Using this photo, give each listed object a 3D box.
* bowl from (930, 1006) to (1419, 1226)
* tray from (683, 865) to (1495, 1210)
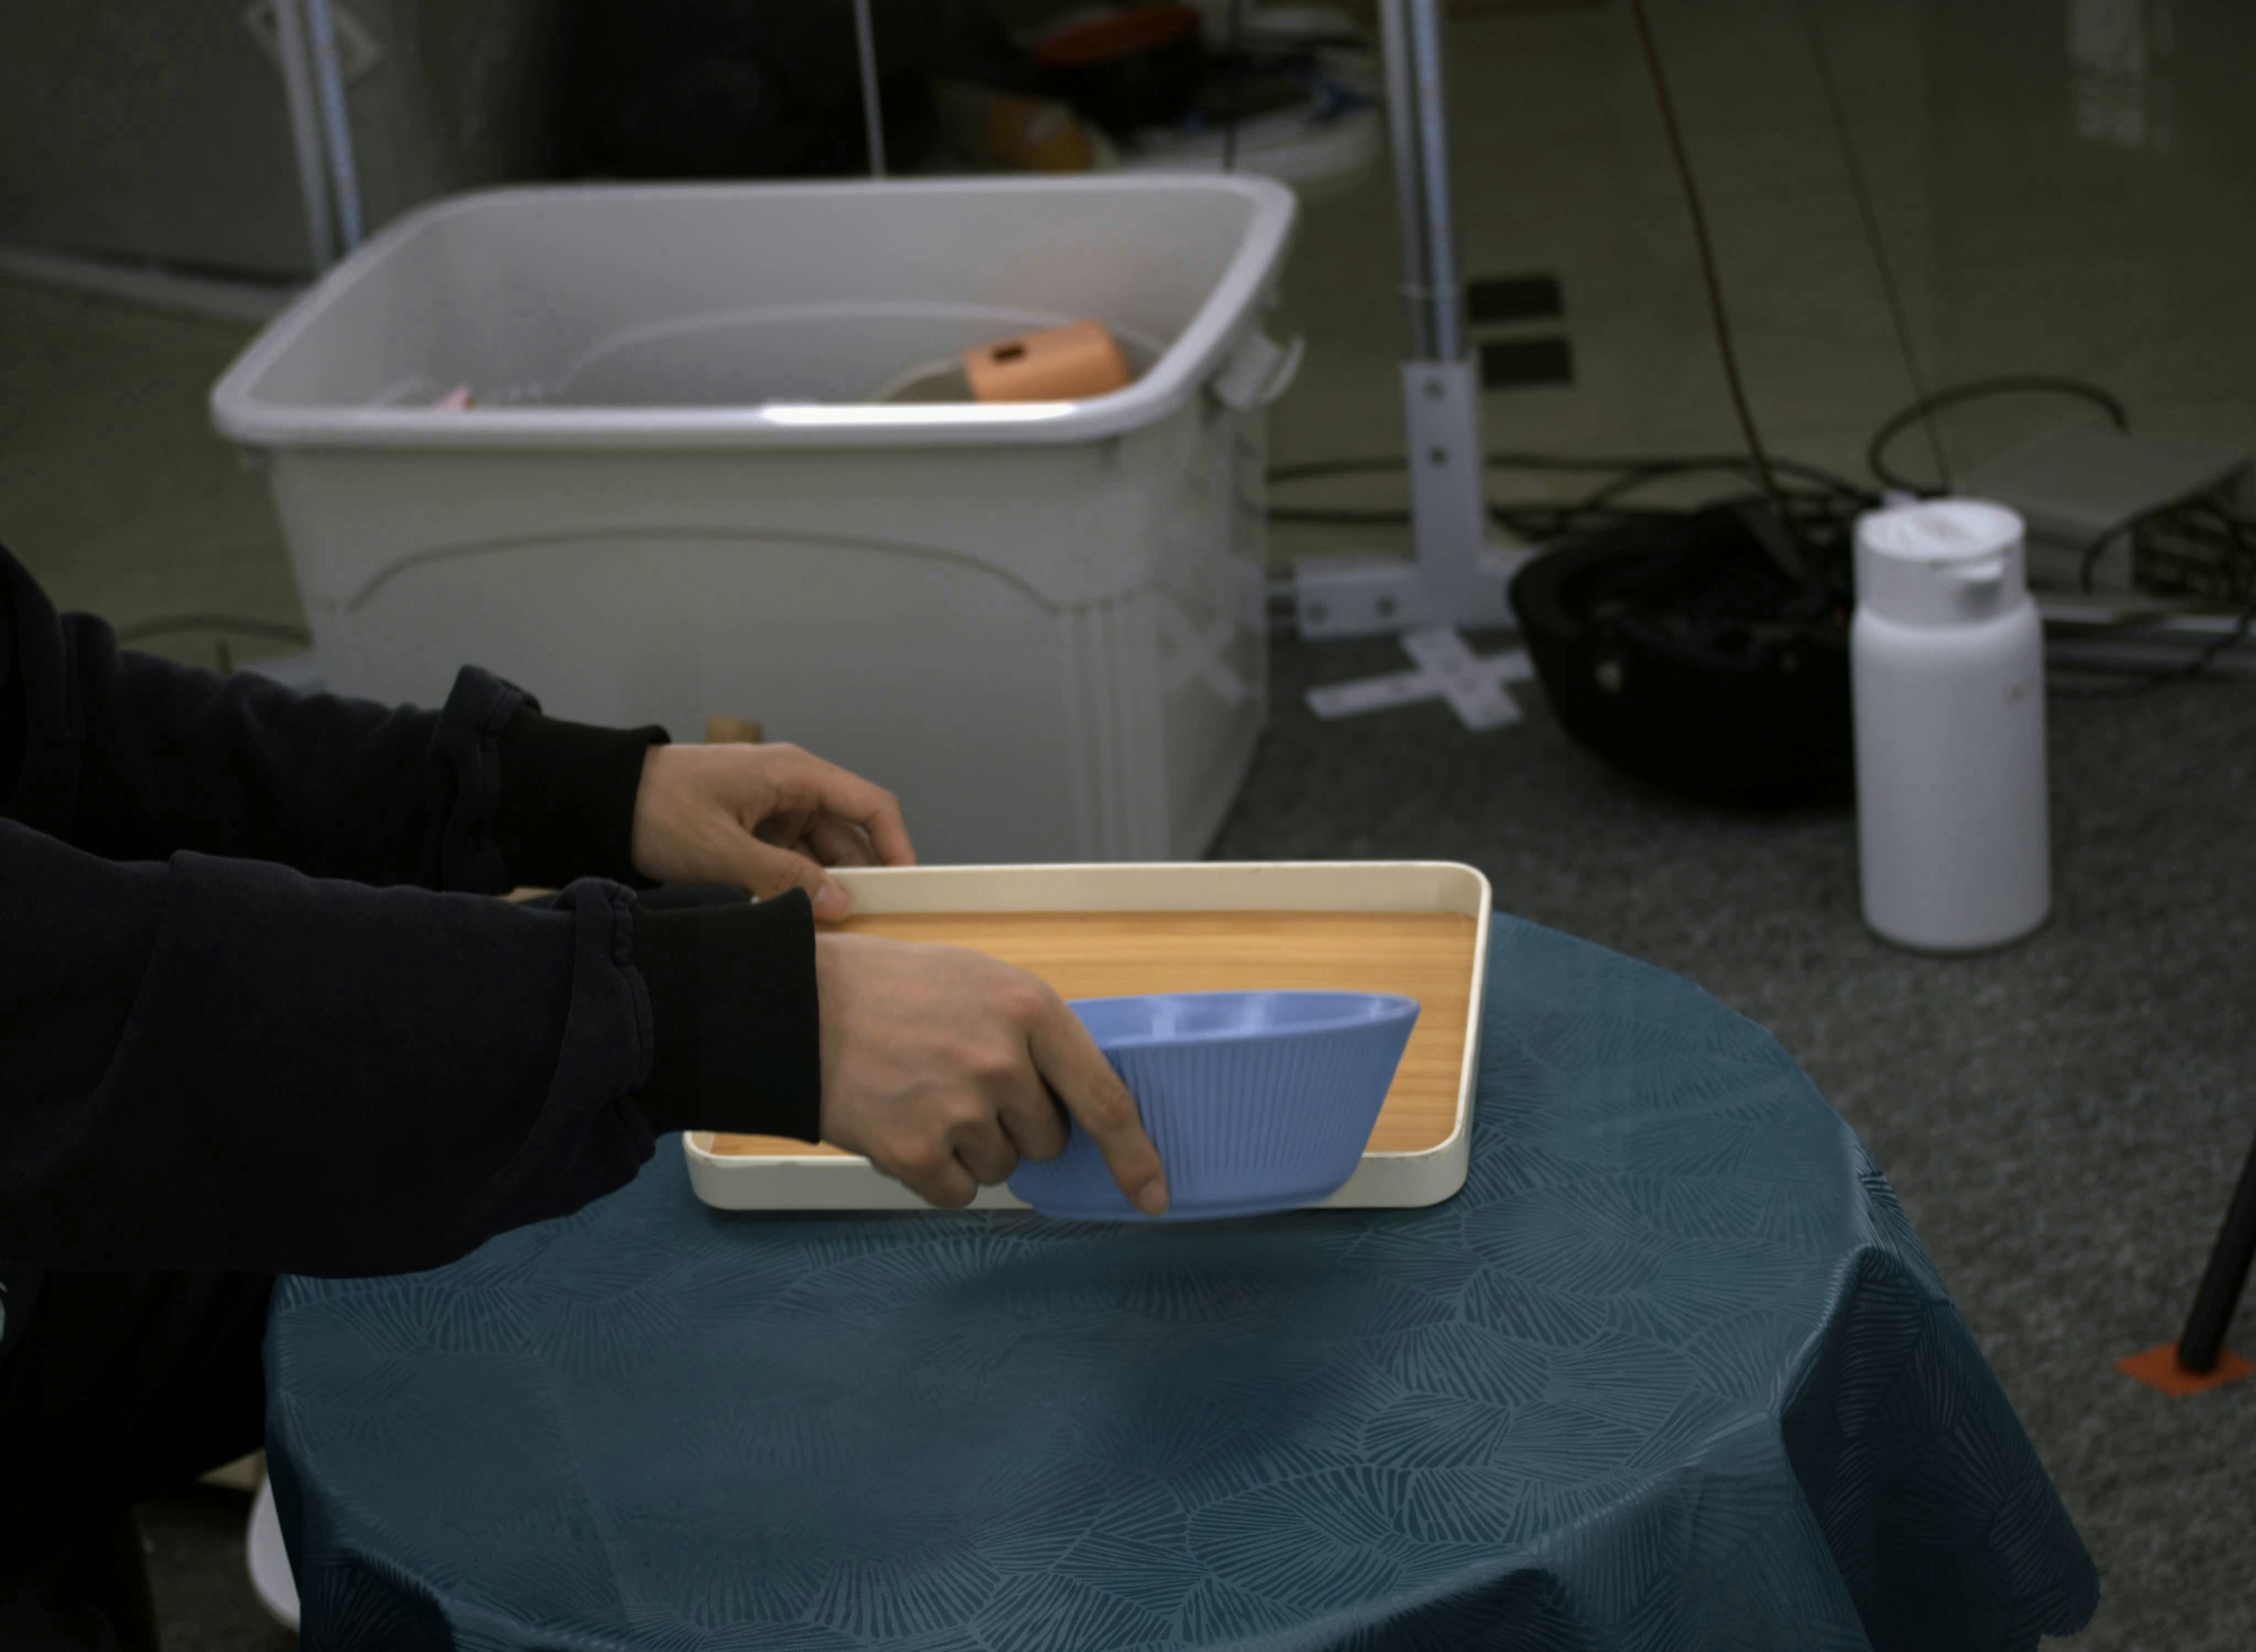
[{"bbox_3d":[0.018,0.103,2.021,0.176,0.070,0.175,-2,3,0],"label":"bowl"},{"bbox_3d":[-0.012,0.081,2.203,0.300,0.028,0.188,0,36,9],"label":"tray"}]
